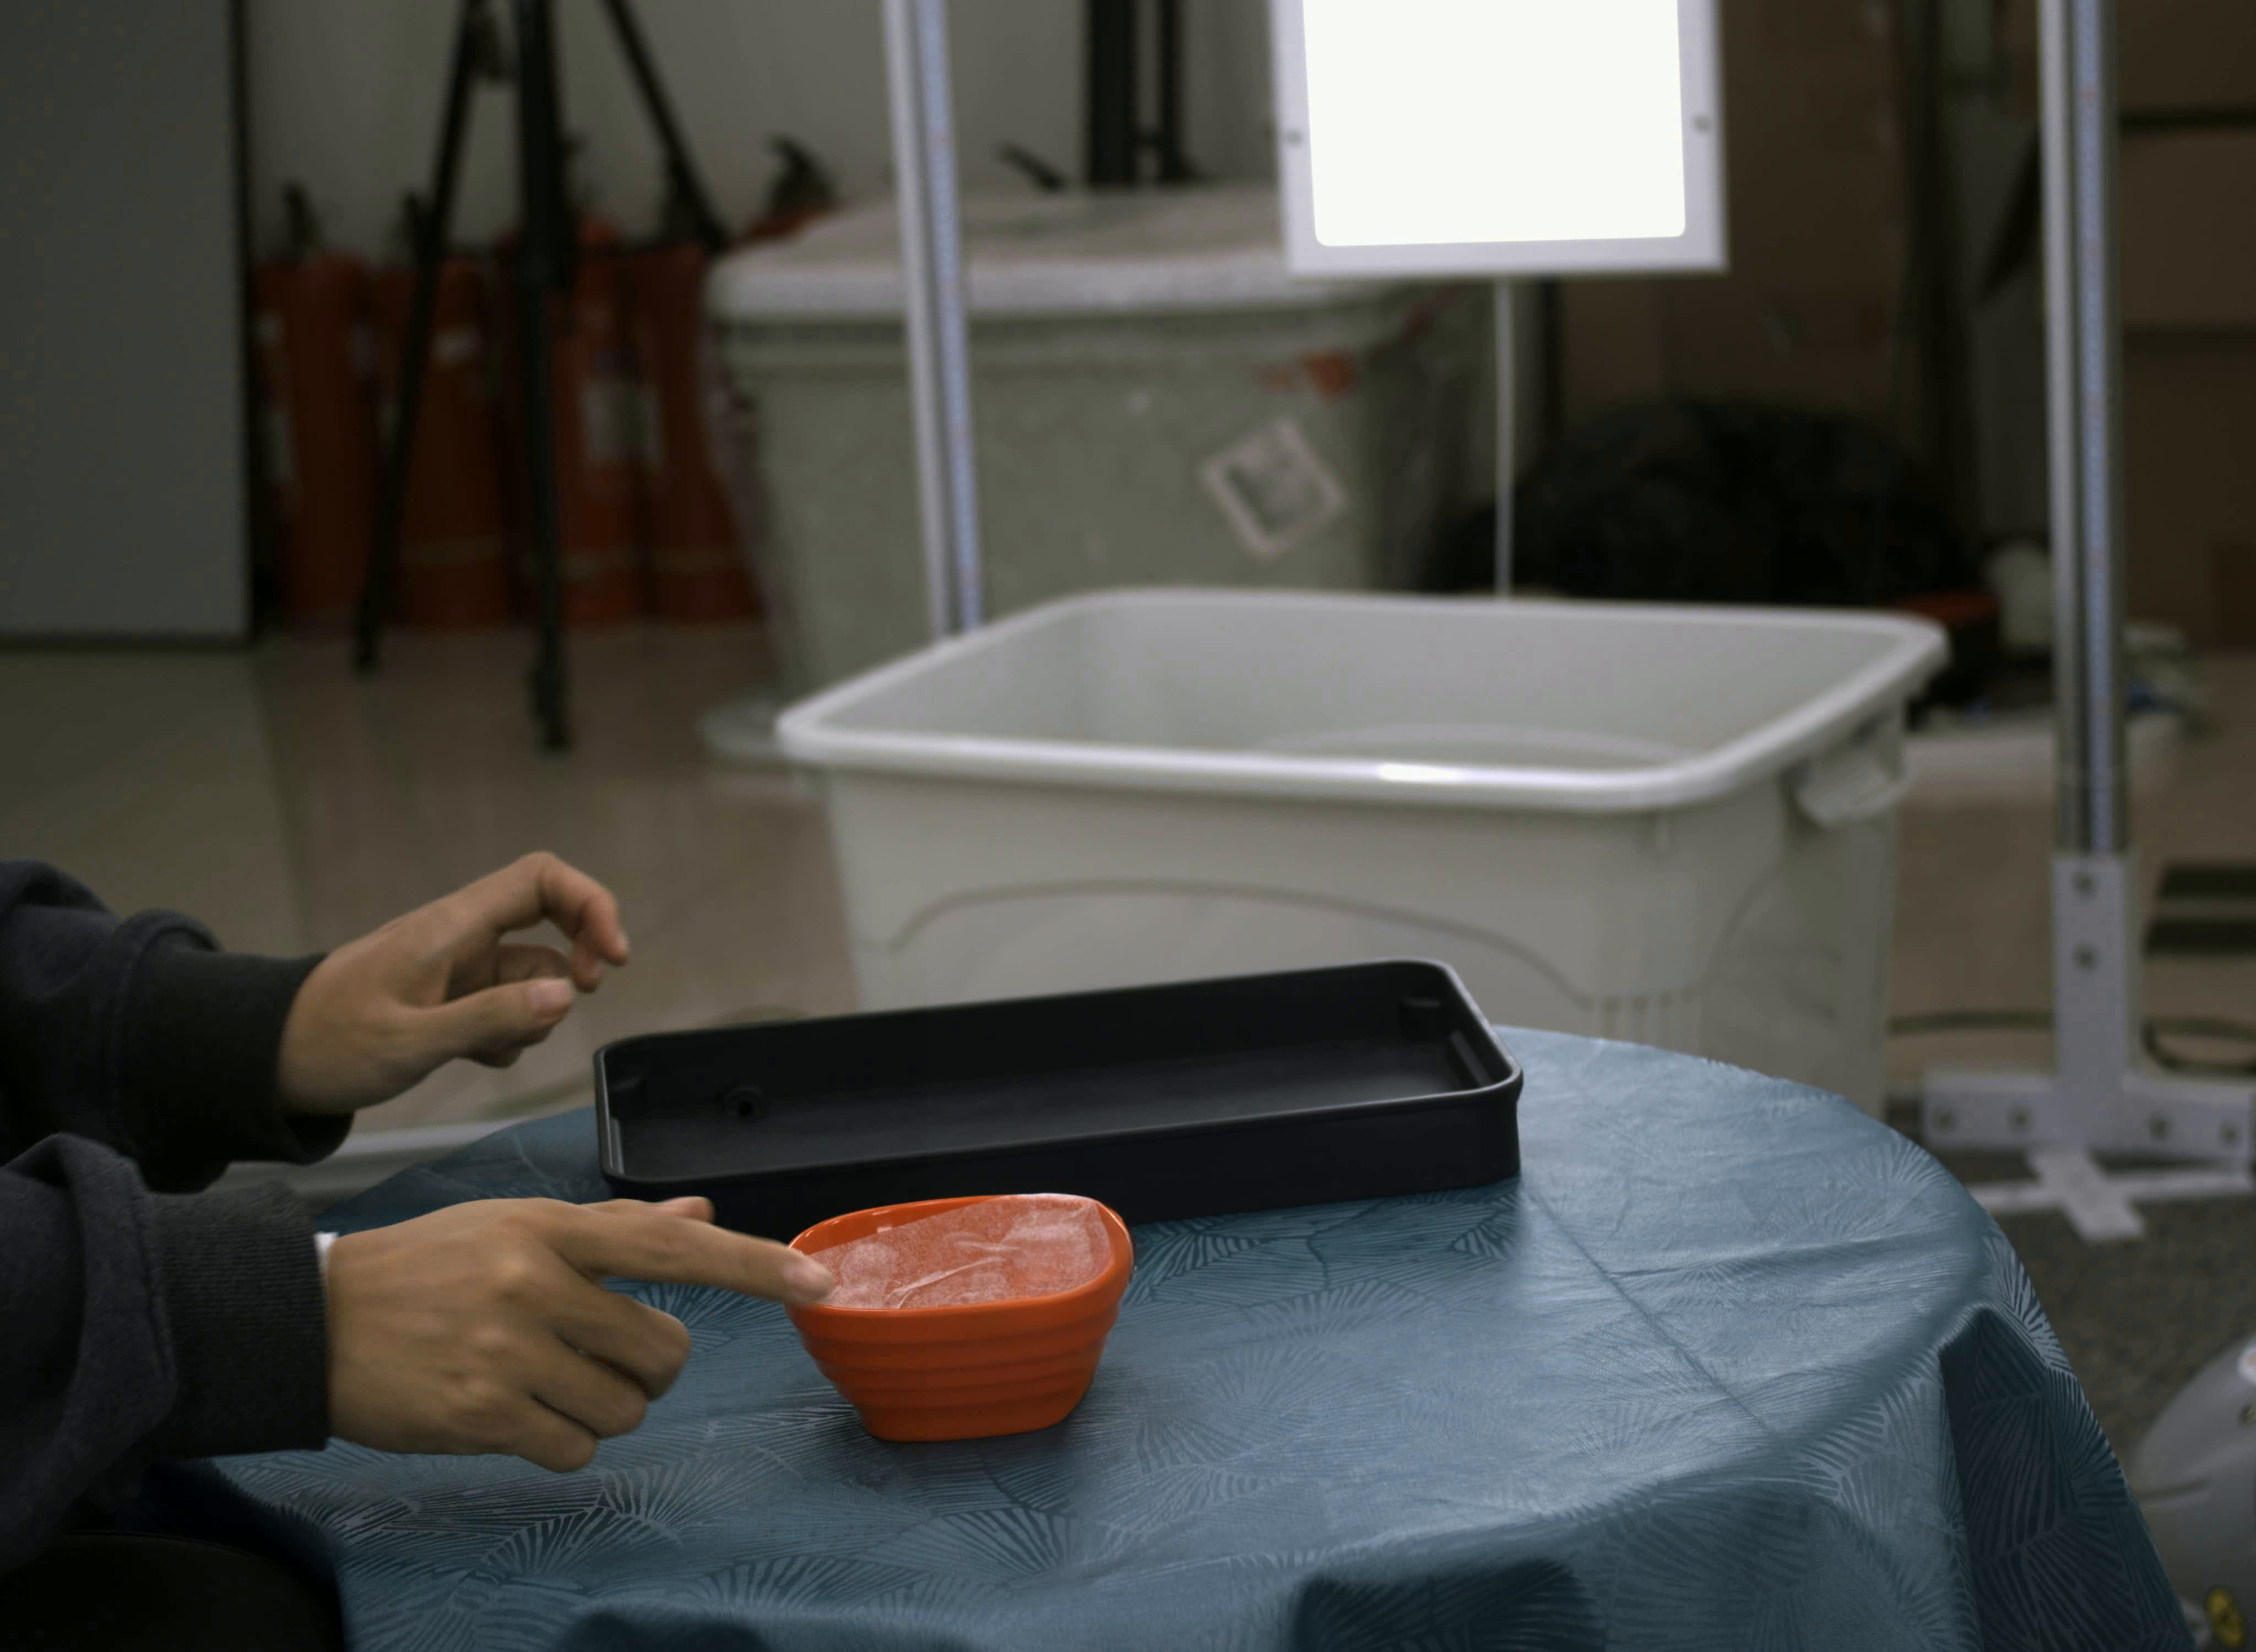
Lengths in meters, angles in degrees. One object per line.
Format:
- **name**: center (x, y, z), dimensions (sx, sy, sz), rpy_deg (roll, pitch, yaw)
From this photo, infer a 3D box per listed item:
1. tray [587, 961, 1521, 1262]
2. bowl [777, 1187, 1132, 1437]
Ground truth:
- **tray**: center (-0.029, 0.098, 1.941), dimensions (0.316, 0.037, 0.184), rpy_deg (-5, 13, -4)
- **bowl**: center (-0.052, 0.152, 1.697), dimensions (0.118, 0.051, 0.119), rpy_deg (-4, 15, 0)
